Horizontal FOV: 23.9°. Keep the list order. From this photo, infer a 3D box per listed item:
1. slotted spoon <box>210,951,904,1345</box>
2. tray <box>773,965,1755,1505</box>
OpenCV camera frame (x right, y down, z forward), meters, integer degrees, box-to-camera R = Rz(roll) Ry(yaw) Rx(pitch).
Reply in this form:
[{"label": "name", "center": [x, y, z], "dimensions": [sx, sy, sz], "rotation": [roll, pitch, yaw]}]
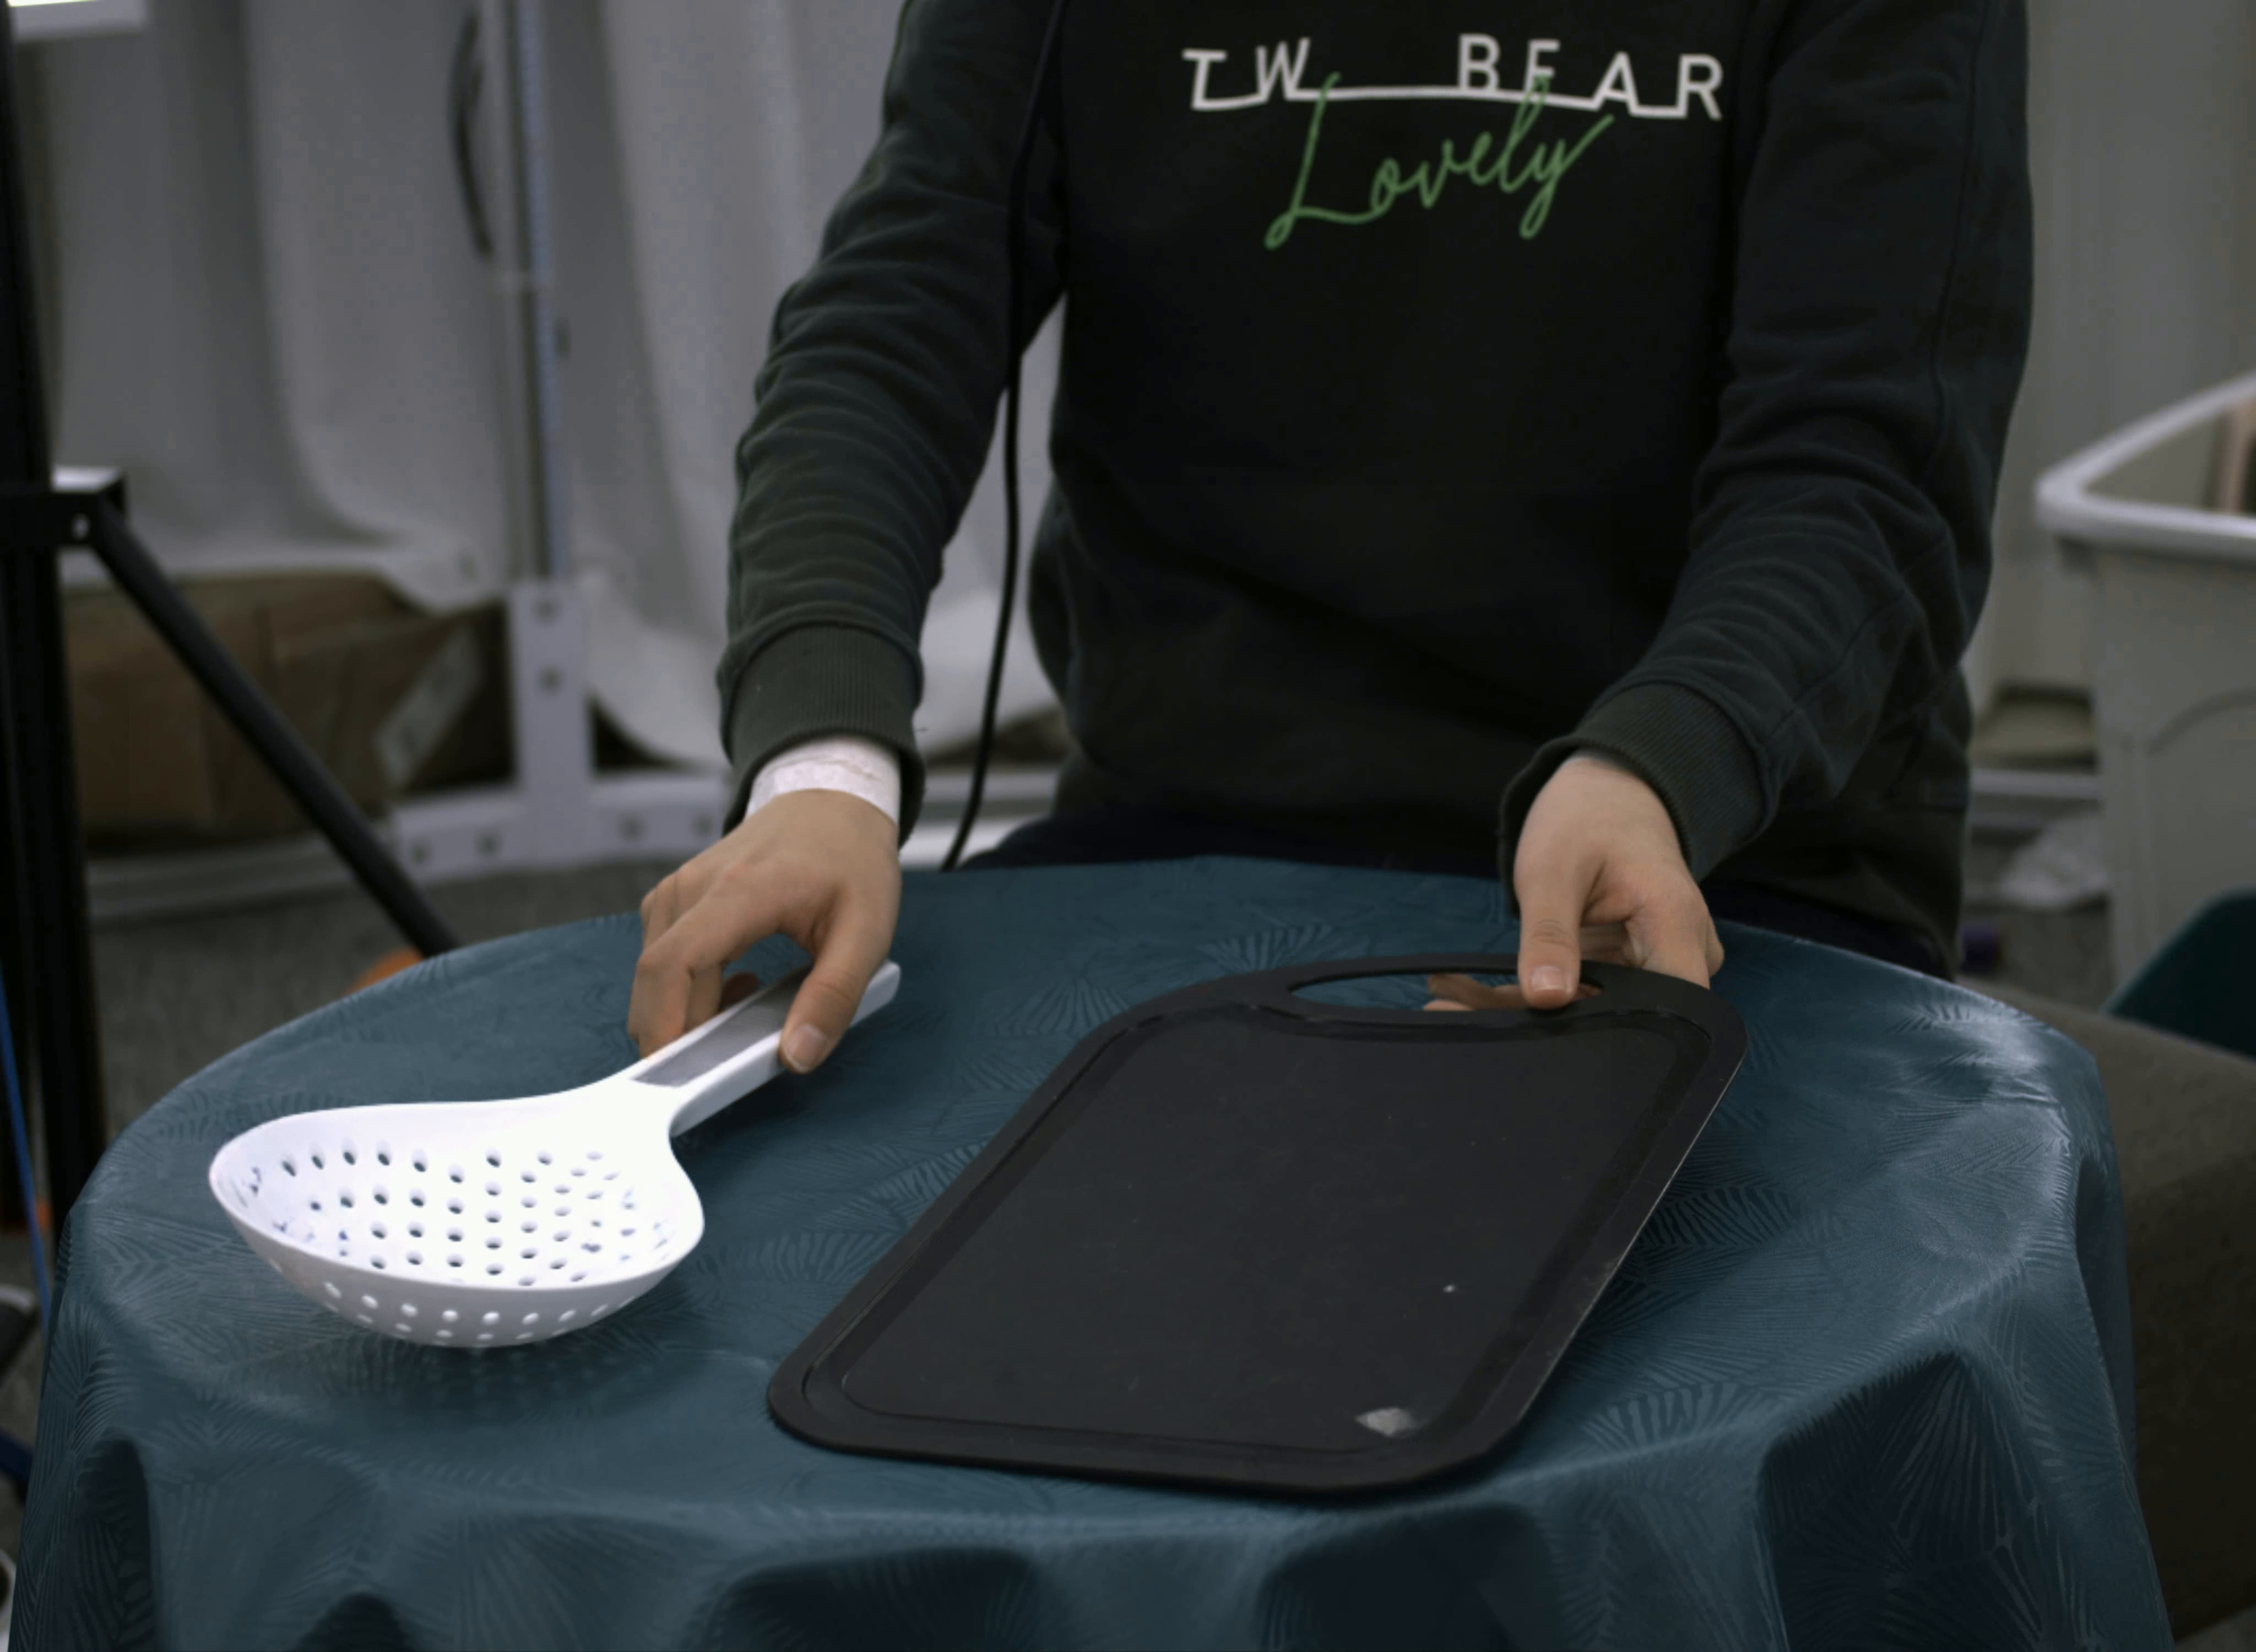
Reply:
[{"label": "slotted spoon", "center": [-0.147, 0.085, 1.565], "dimensions": [0.137, 0.046, 0.345], "rotation": [15, 22, 18]}, {"label": "tray", "center": [0.047, 0.103, 1.481], "dimensions": [0.214, 0.010, 0.322], "rotation": [2, 23, 23]}]
